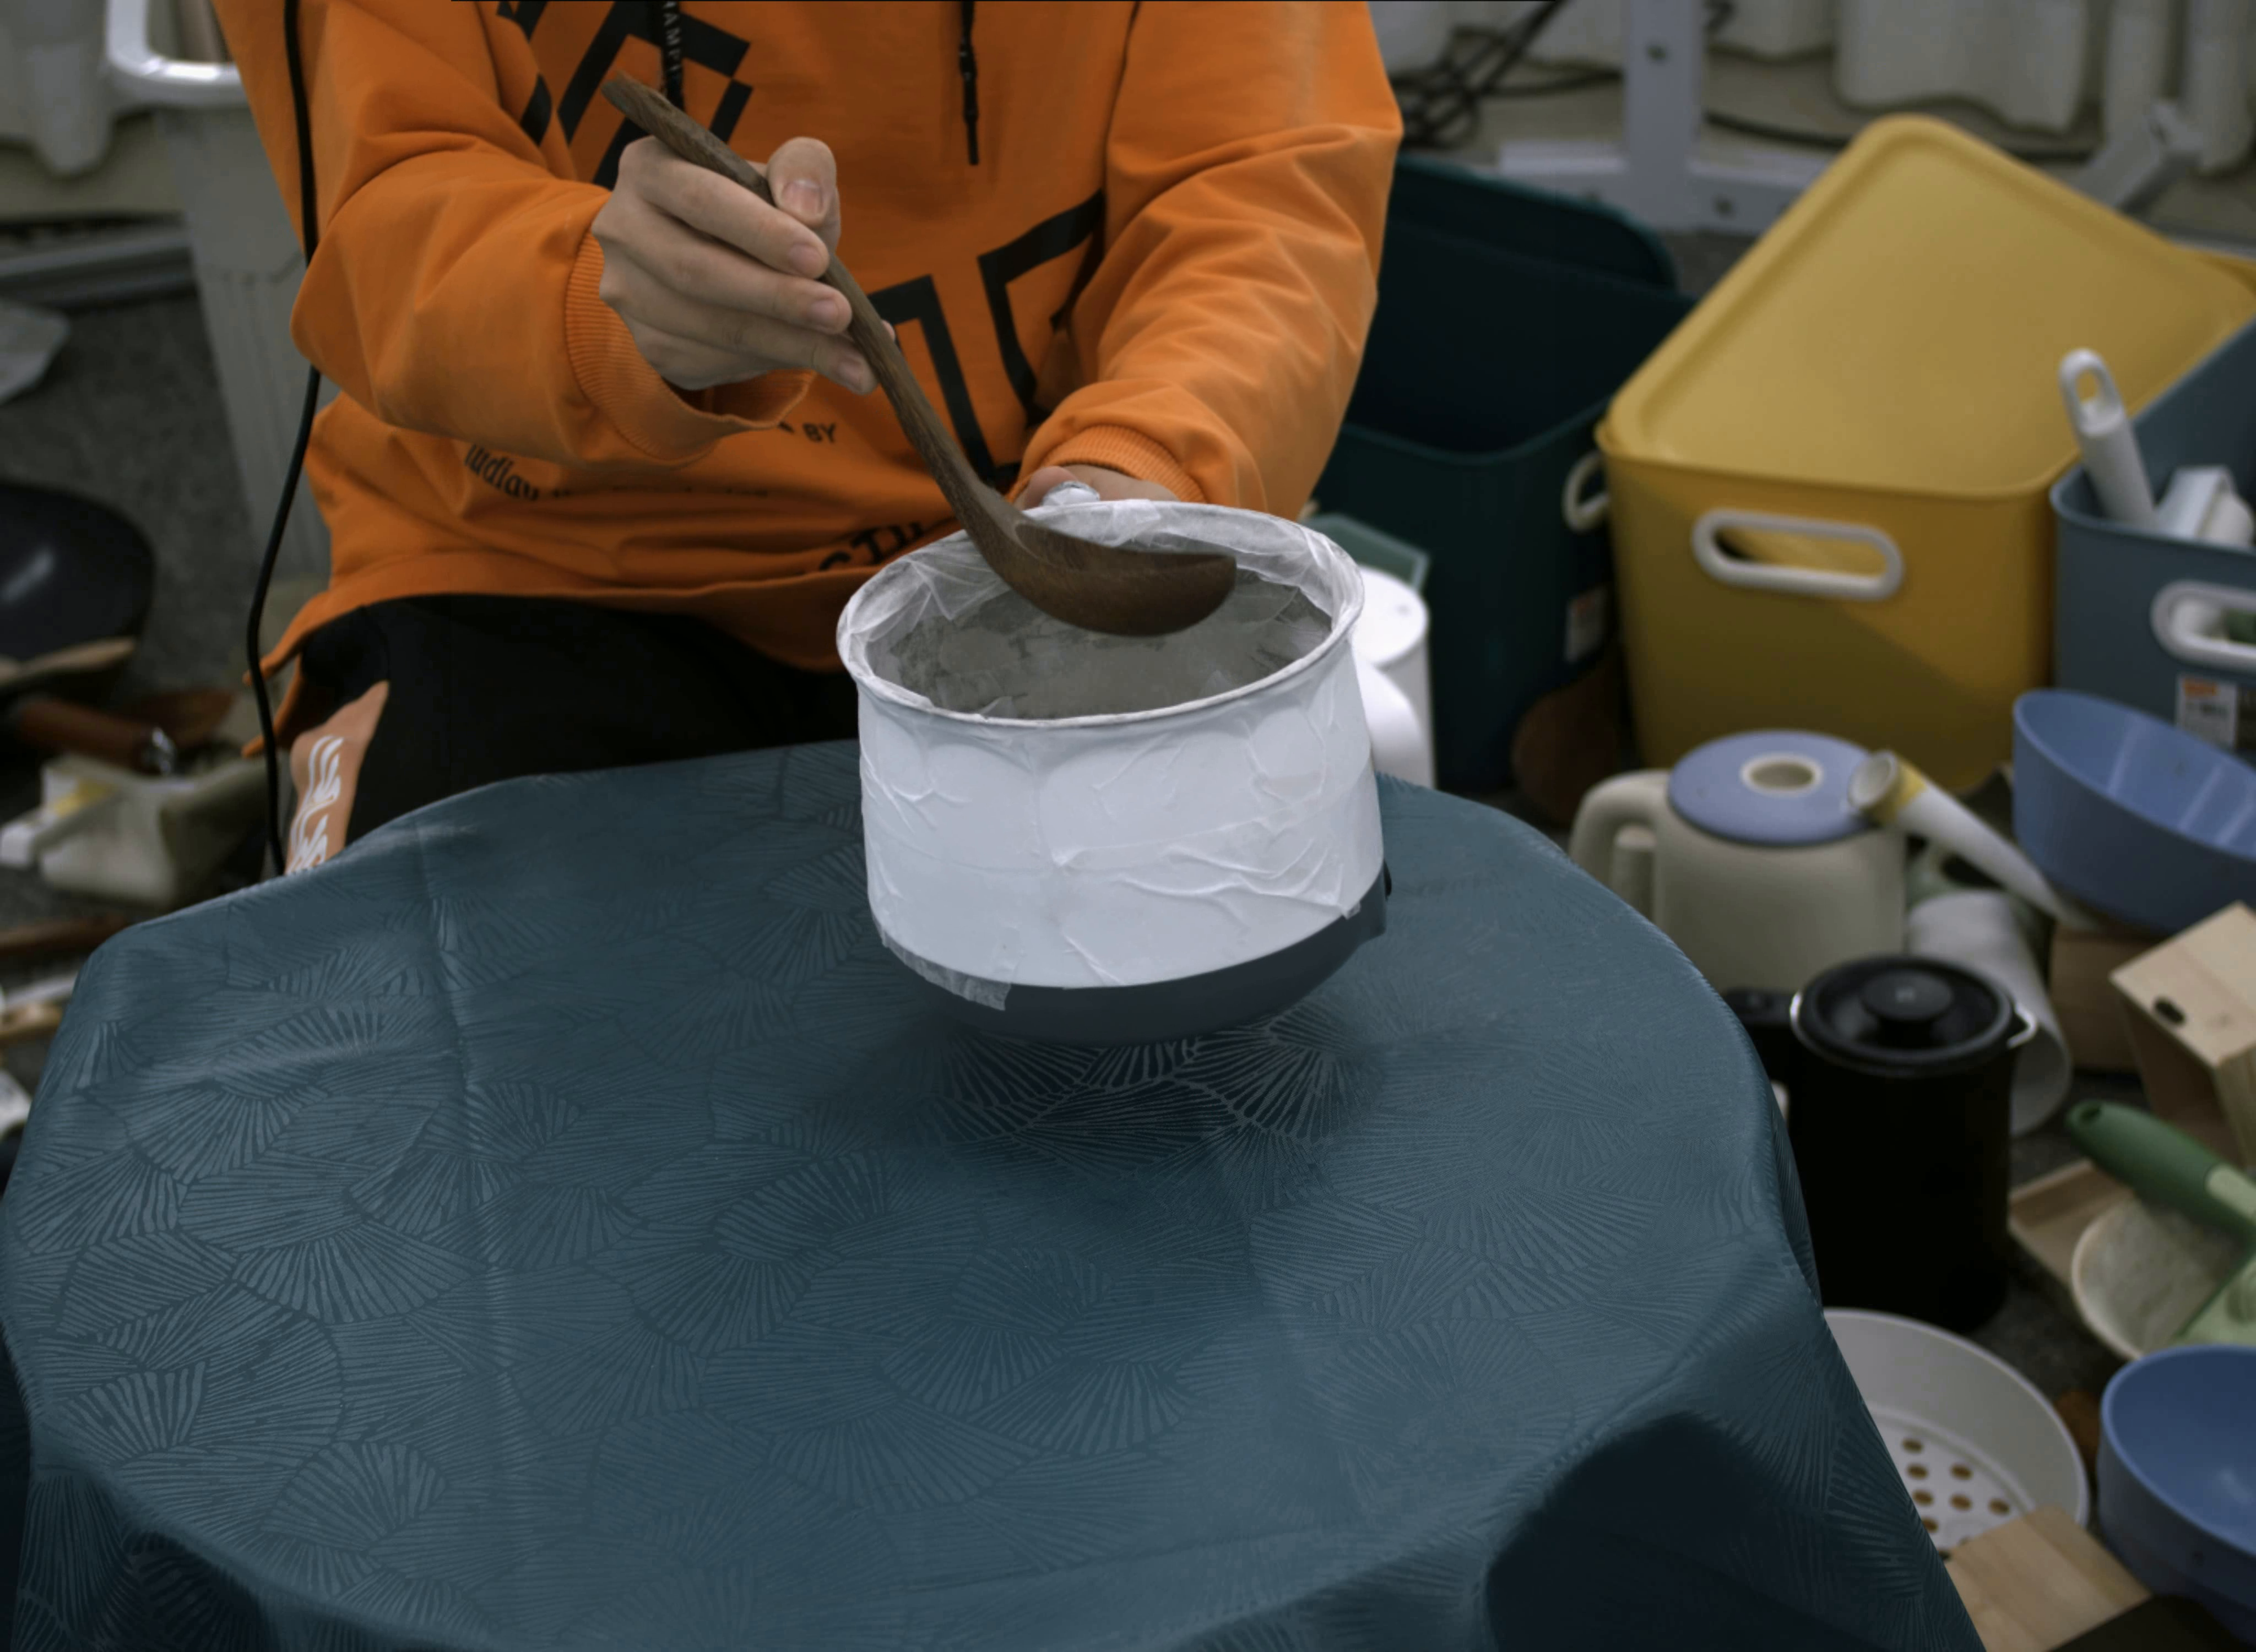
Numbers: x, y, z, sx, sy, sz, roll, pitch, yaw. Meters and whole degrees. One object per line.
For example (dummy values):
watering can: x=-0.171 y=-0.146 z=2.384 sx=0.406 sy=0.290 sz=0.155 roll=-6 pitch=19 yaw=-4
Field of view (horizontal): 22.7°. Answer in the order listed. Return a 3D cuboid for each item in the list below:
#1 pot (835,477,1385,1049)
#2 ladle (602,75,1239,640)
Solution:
pot: x=-0.008 y=-0.028 z=1.918 sx=0.178 sy=0.135 sz=0.236 roll=-7 pitch=26 yaw=-6
ladle: x=-0.068 y=-0.169 z=1.913 sx=0.071 sy=0.275 sz=0.076 roll=-39 pitch=-5 yaw=11
